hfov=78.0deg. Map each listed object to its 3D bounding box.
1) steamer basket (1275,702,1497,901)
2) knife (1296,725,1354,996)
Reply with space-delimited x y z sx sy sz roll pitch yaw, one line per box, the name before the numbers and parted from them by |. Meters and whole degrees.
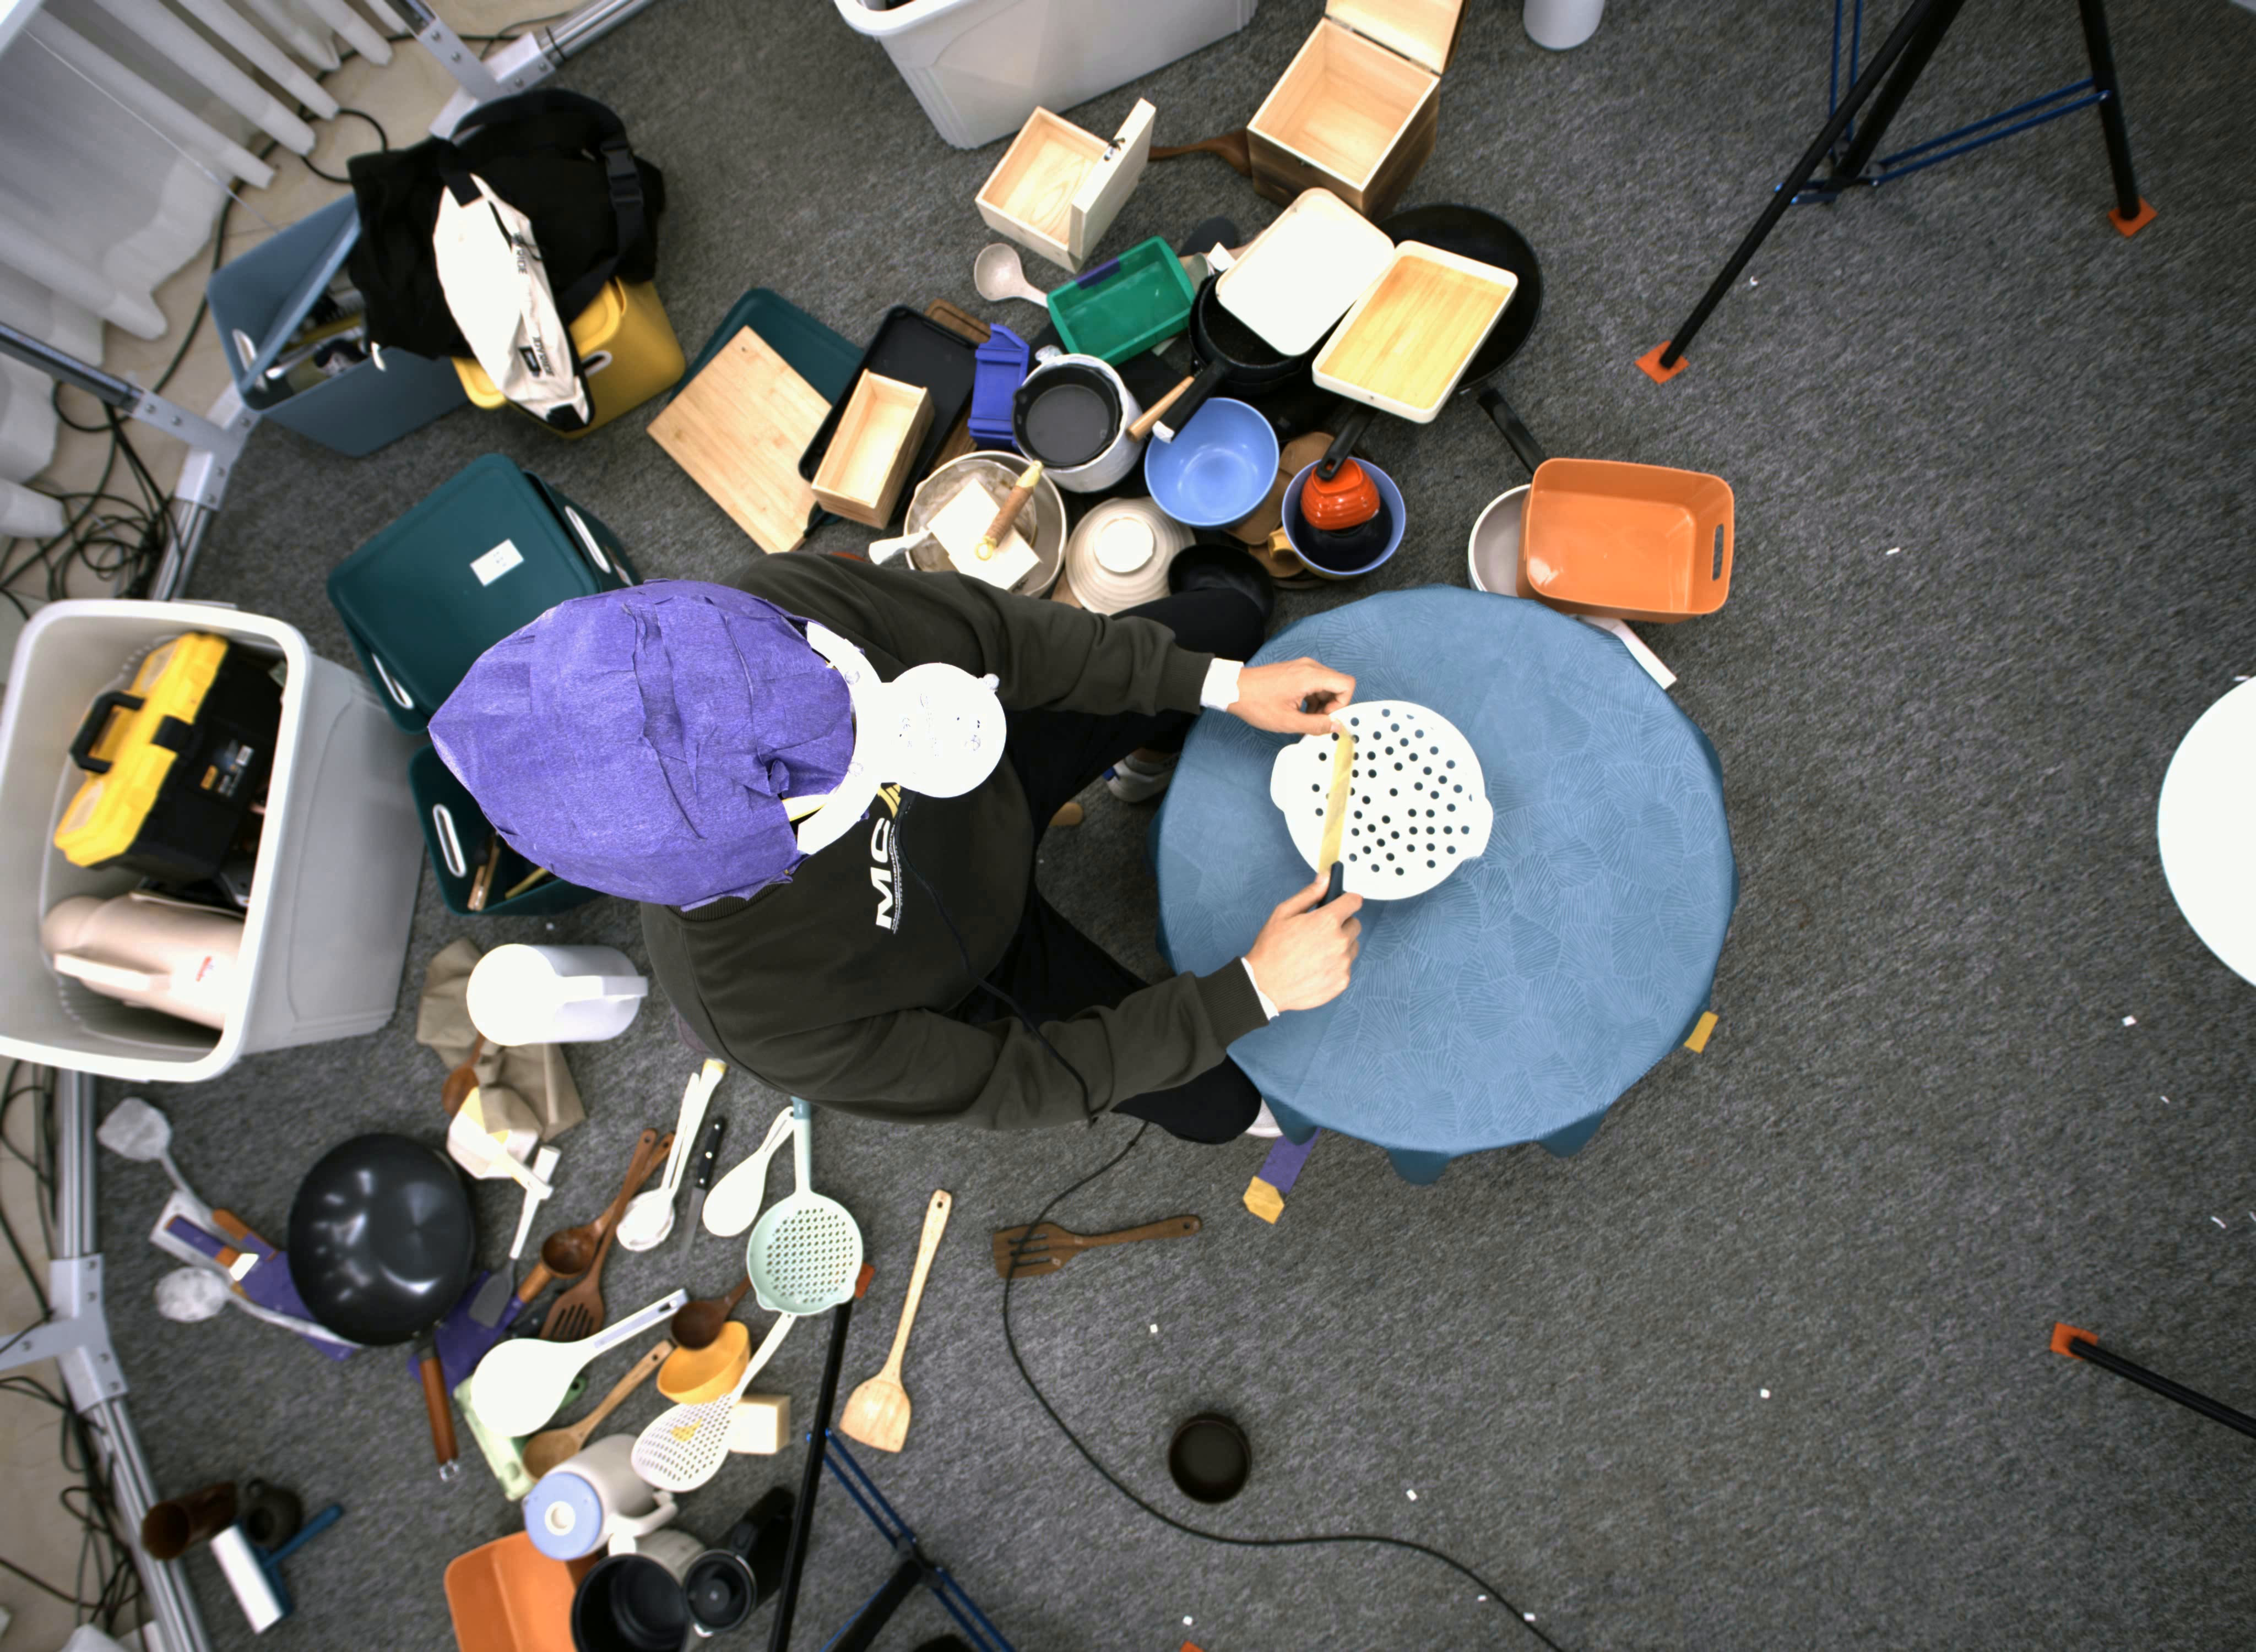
steamer basket | 0.267 -0.029 1.402 0.230 0.068 0.205 18 110 23
knife | 0.198 0.030 1.380 0.027 0.082 0.285 13 75 -5
